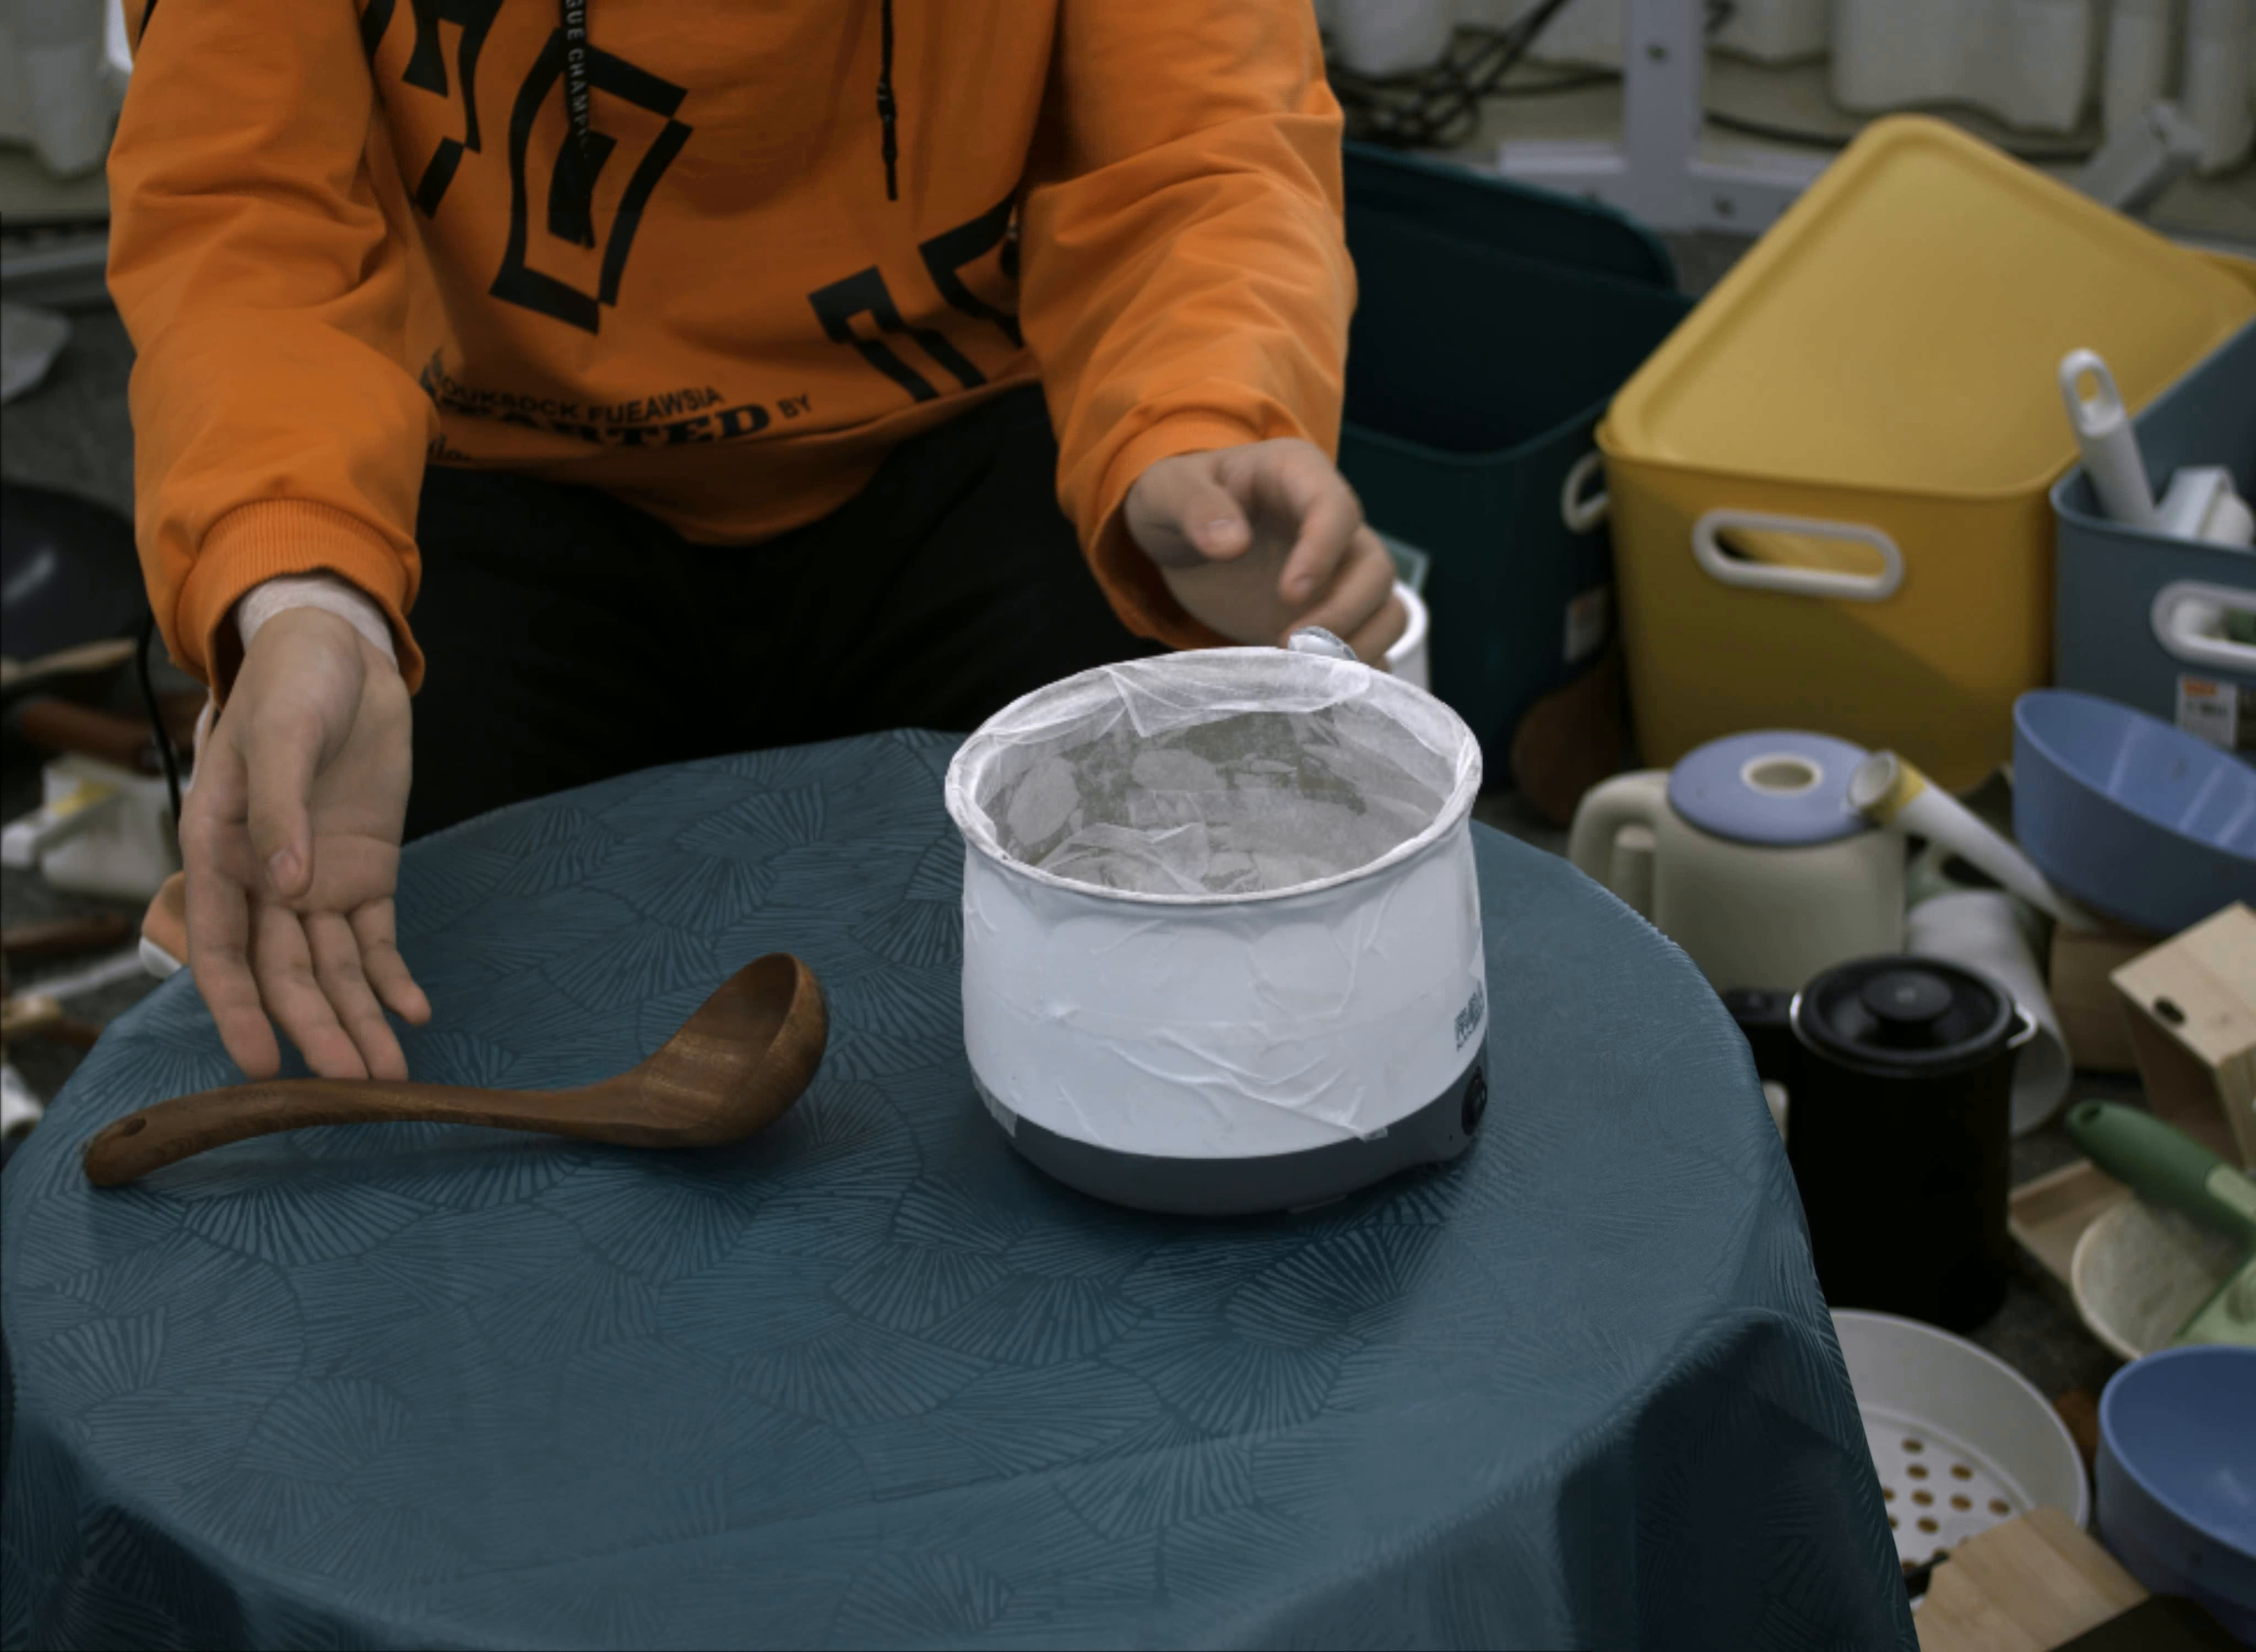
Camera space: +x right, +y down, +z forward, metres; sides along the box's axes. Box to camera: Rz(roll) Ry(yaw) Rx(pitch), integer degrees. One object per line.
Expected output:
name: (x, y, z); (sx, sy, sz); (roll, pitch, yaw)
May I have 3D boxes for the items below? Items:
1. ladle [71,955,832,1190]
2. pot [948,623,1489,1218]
ladle: (-0.228, 0.085, 1.888); (0.259, 0.064, 0.077); (-3, 24, -1)
pot: (0.041, 0.024, 1.898); (0.177, 0.135, 0.238); (7, 29, 18)
